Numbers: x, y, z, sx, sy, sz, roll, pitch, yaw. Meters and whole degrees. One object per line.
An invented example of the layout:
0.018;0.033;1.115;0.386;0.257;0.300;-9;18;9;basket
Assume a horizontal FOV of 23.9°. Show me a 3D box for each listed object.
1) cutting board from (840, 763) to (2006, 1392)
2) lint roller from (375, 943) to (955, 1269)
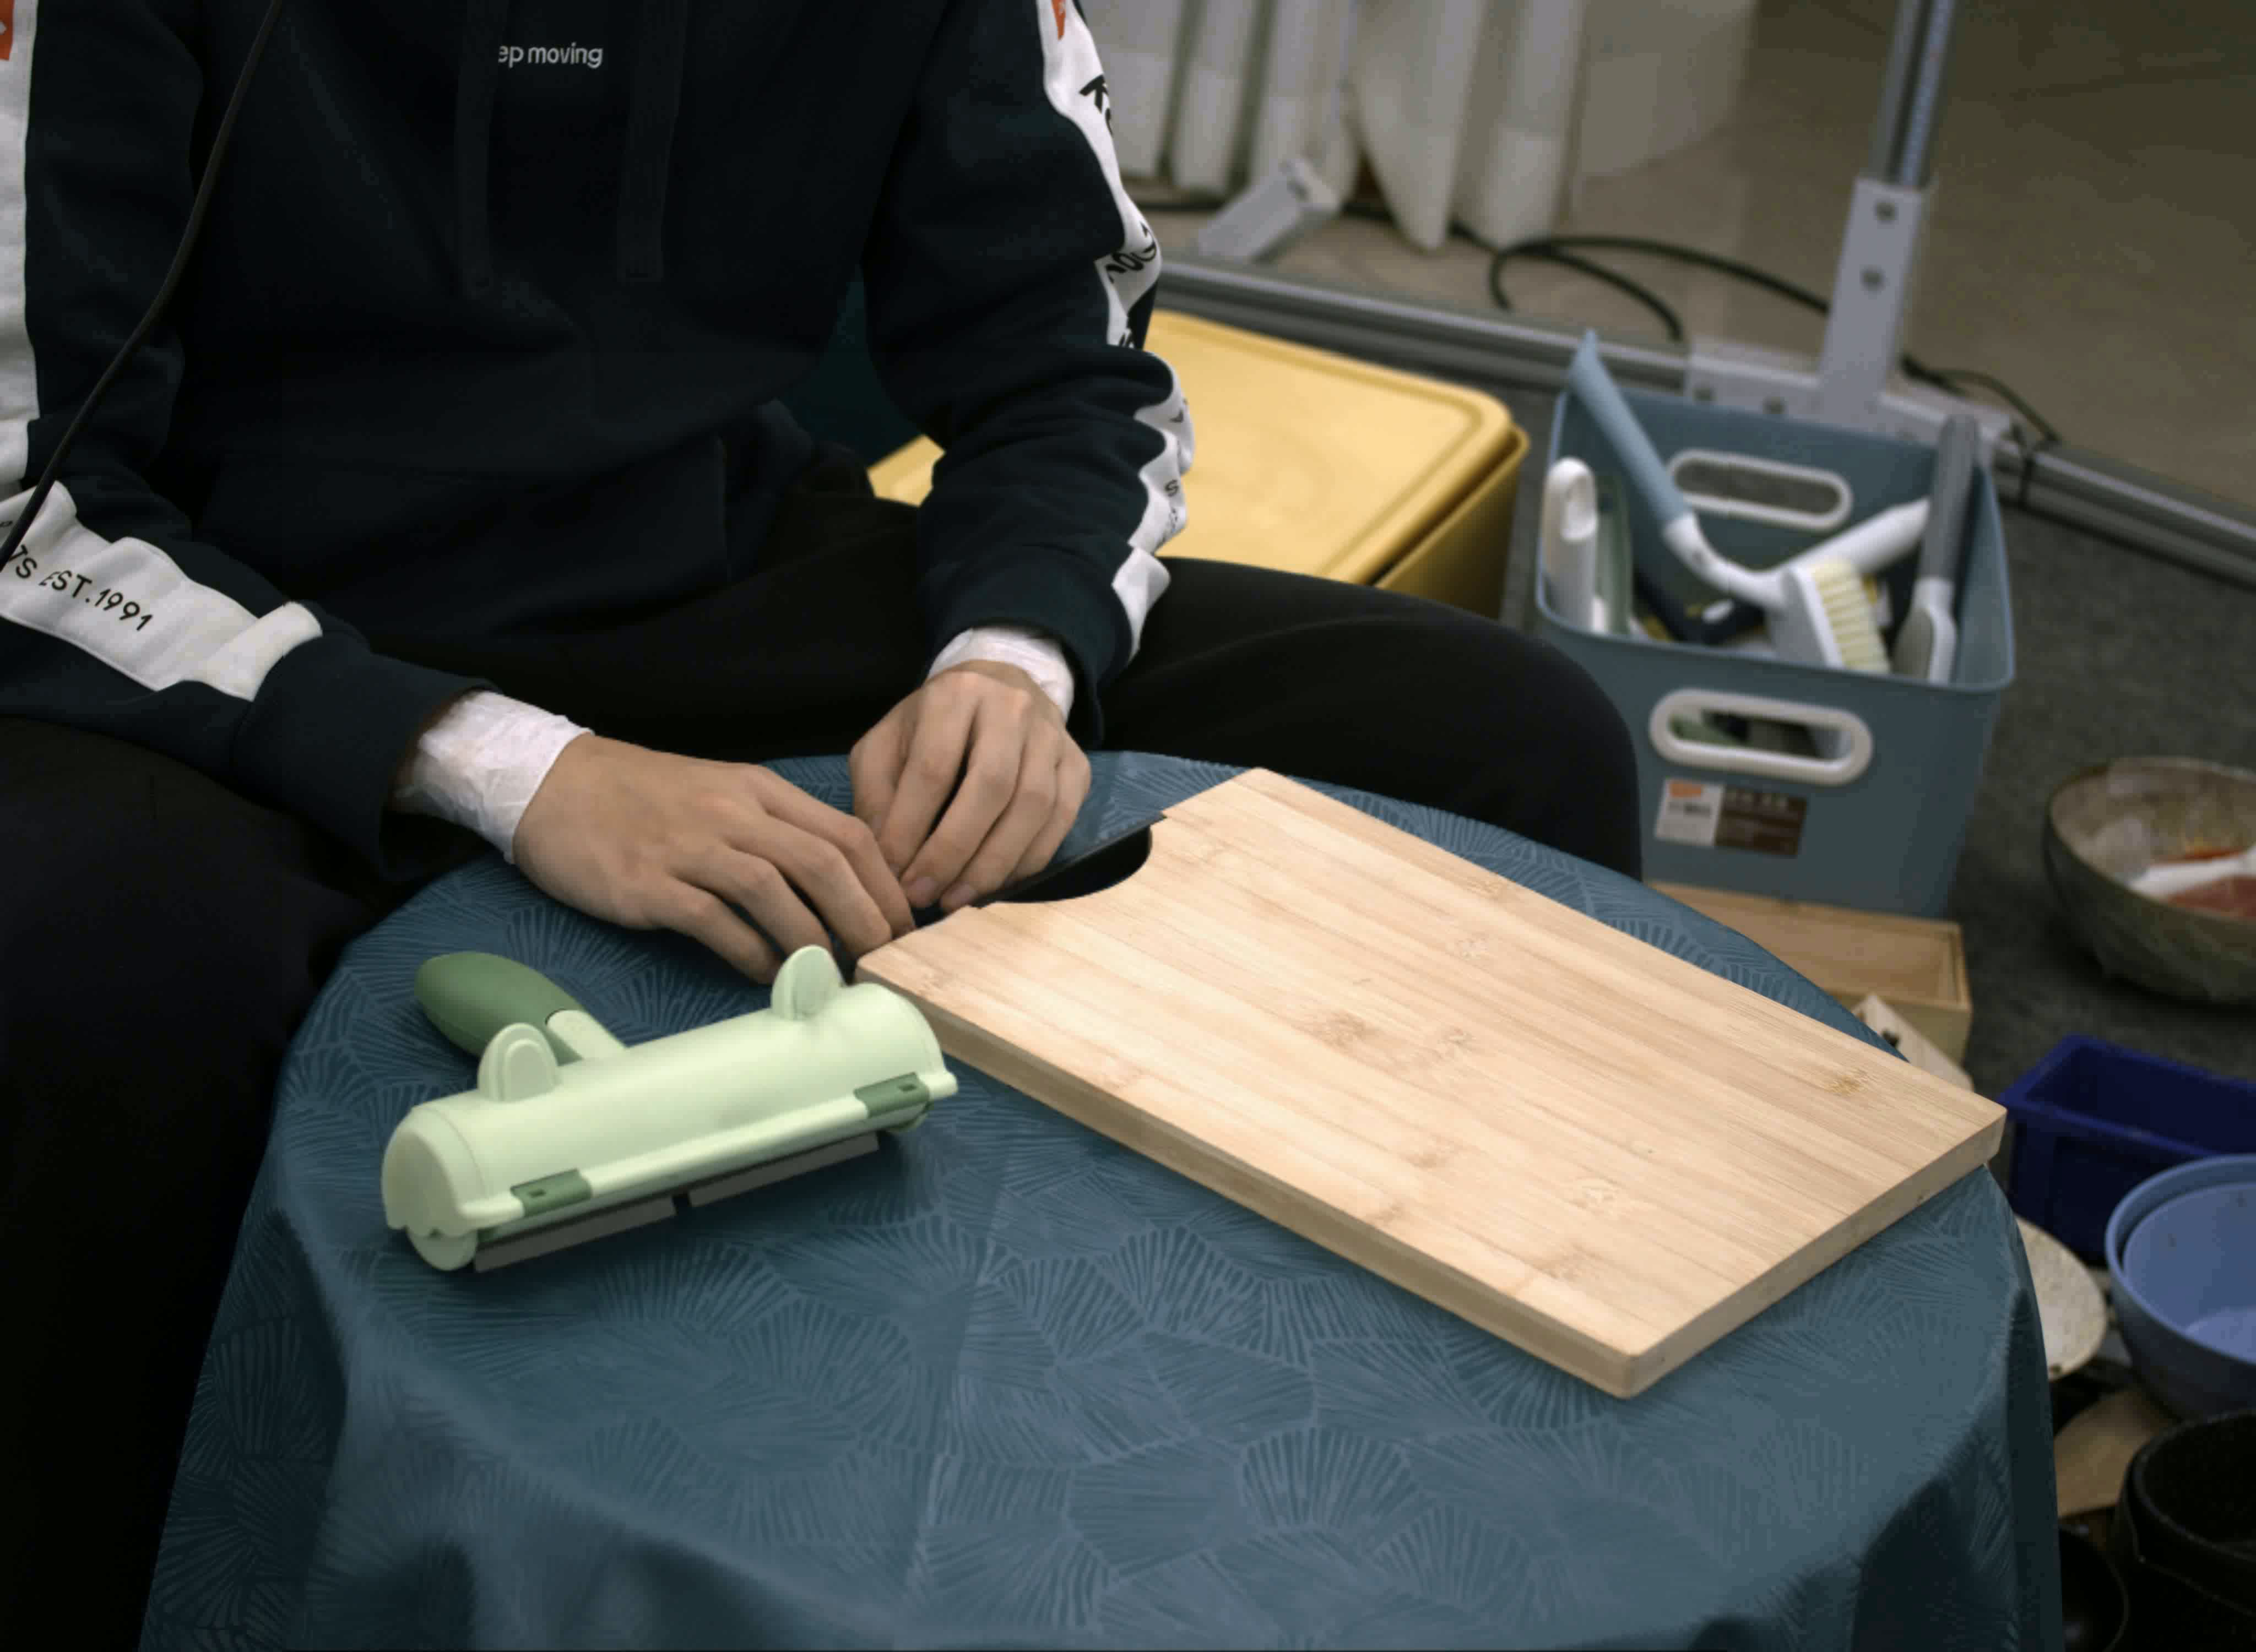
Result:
0.103;0.081;1.888;0.351;0.023;0.250;25;32;32;cutting board
-0.185;0.065;1.787;0.197;0.082;0.185;-15;38;-35;lint roller
